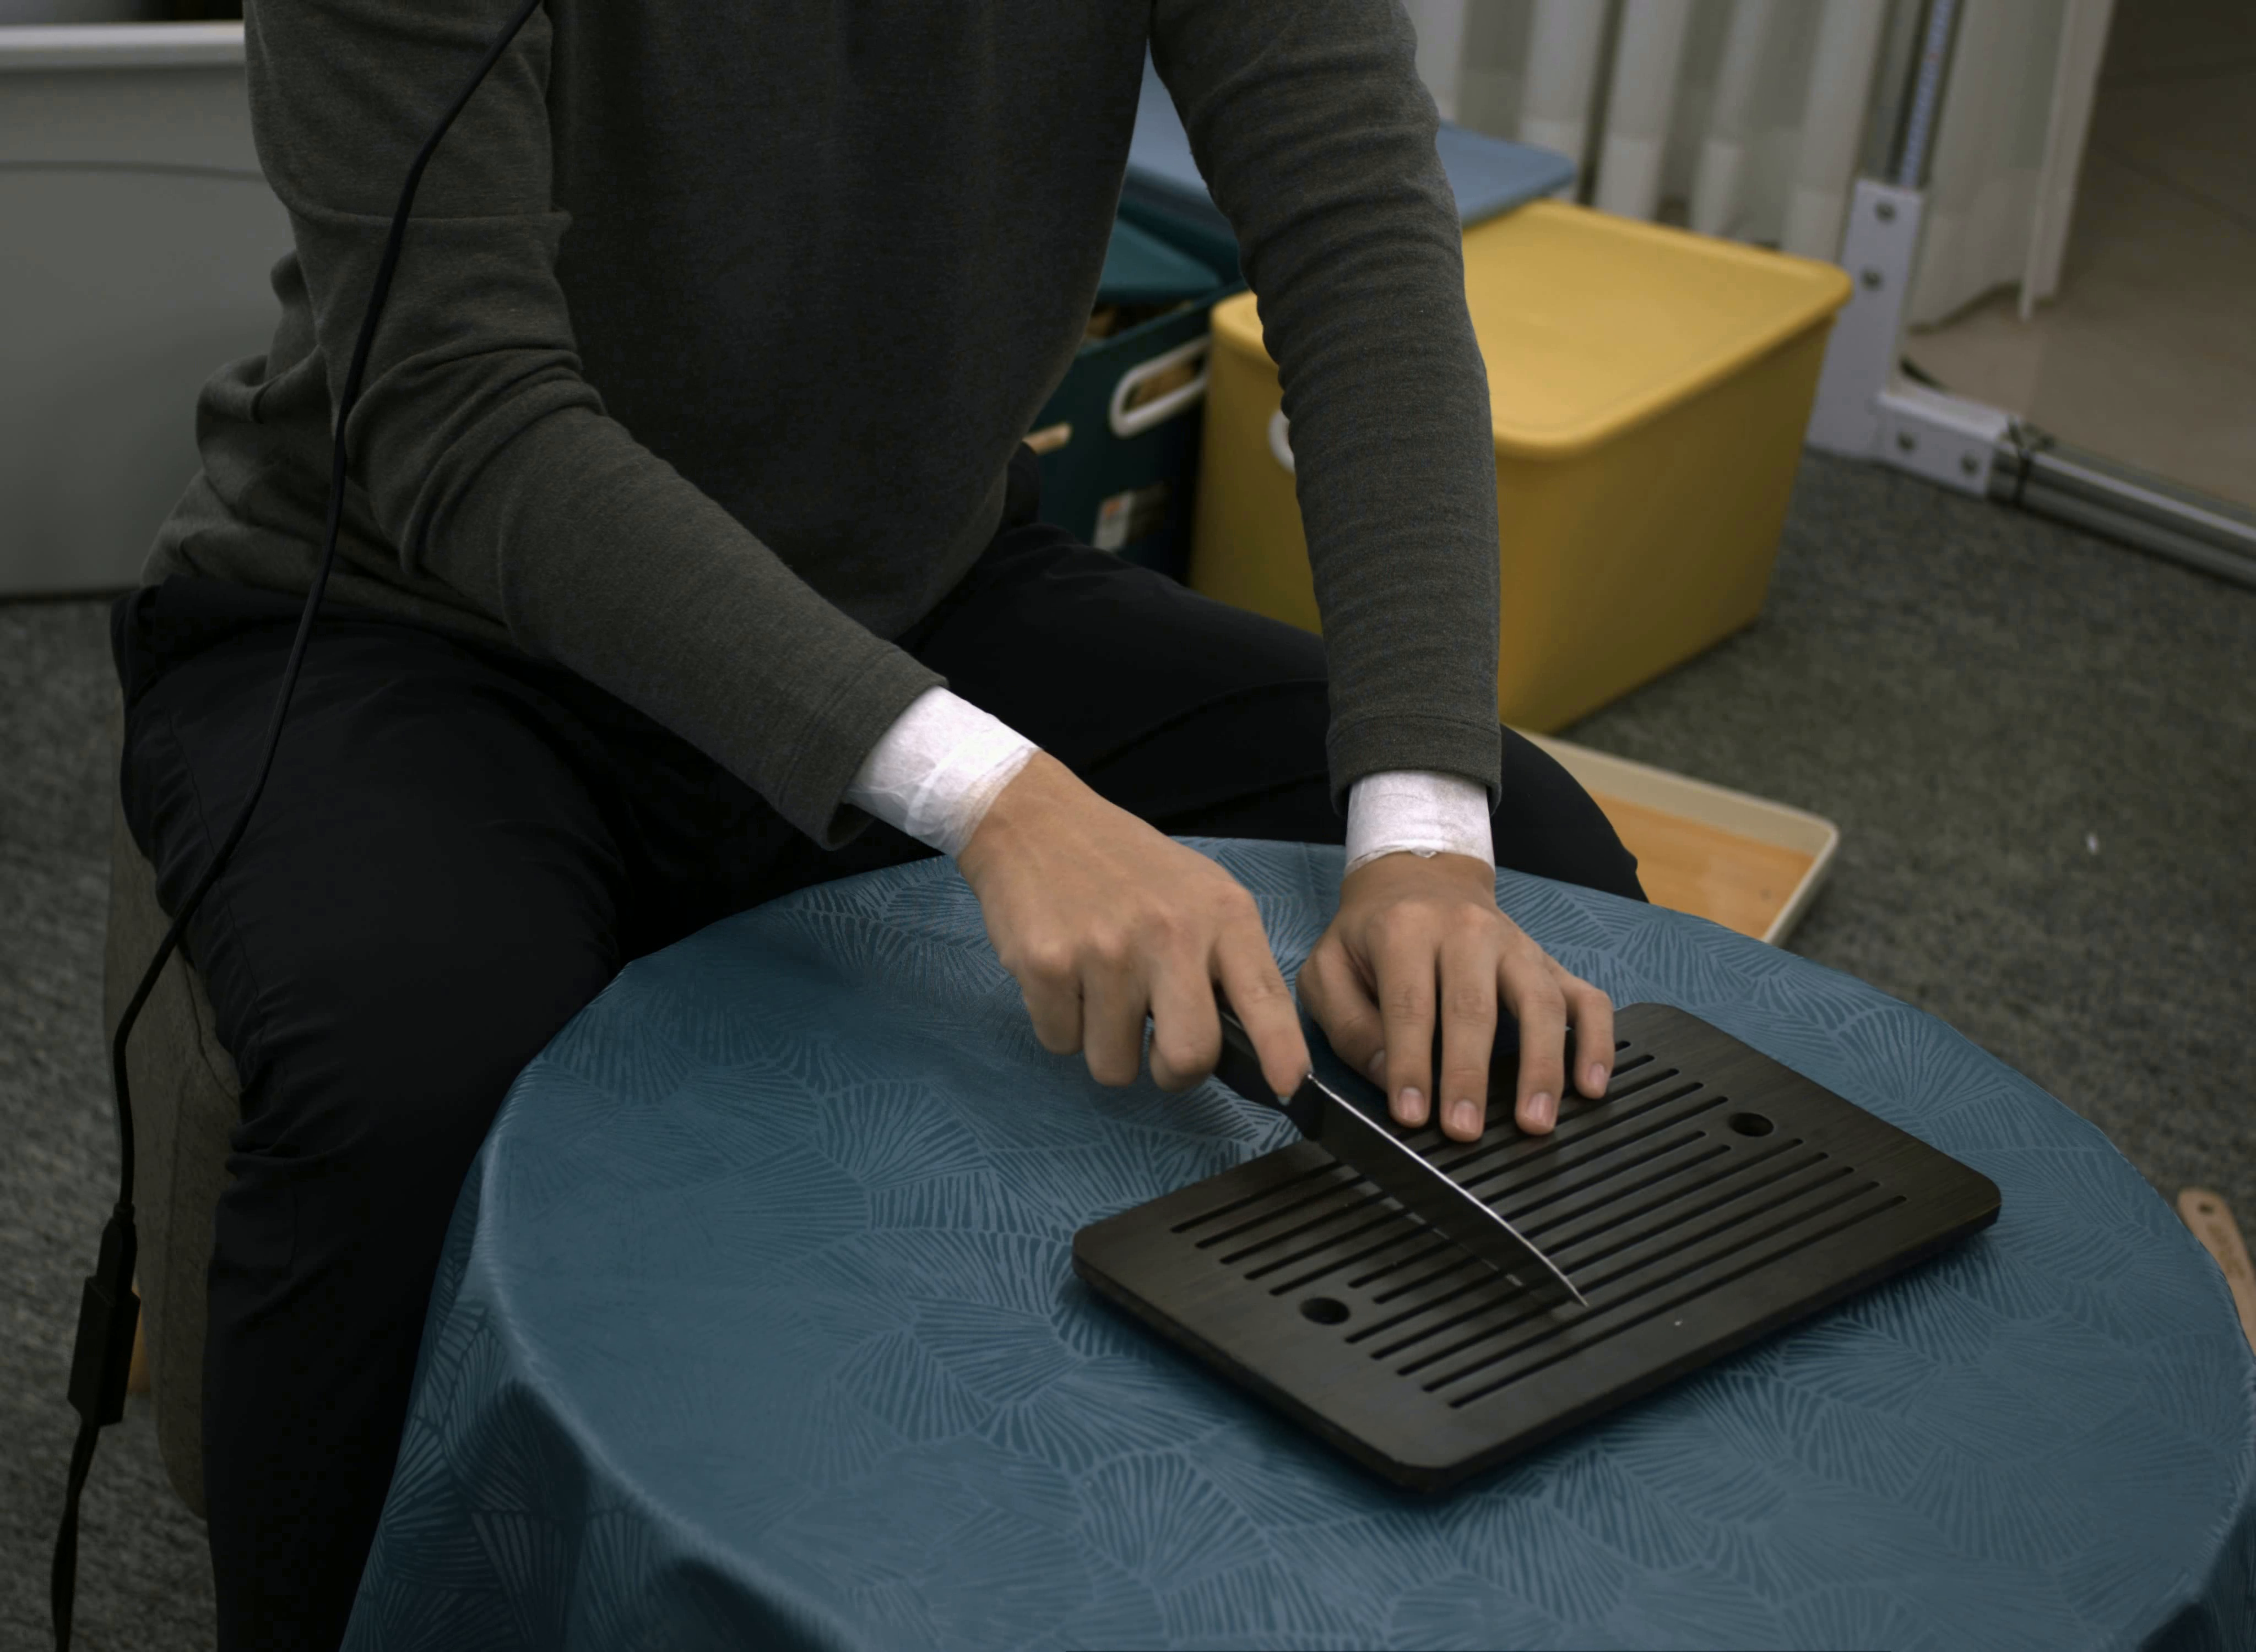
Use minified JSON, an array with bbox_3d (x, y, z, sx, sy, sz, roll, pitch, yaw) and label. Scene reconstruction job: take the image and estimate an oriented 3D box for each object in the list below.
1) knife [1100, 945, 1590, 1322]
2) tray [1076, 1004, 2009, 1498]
[{"bbox_3d":[0.073,0.101,1.793,0.016,0.024,0.240,-15,39,-40],"label":"knife"},{"bbox_3d":[0.142,0.139,1.788,0.304,0.018,0.171,-19,36,-40],"label":"tray"}]
